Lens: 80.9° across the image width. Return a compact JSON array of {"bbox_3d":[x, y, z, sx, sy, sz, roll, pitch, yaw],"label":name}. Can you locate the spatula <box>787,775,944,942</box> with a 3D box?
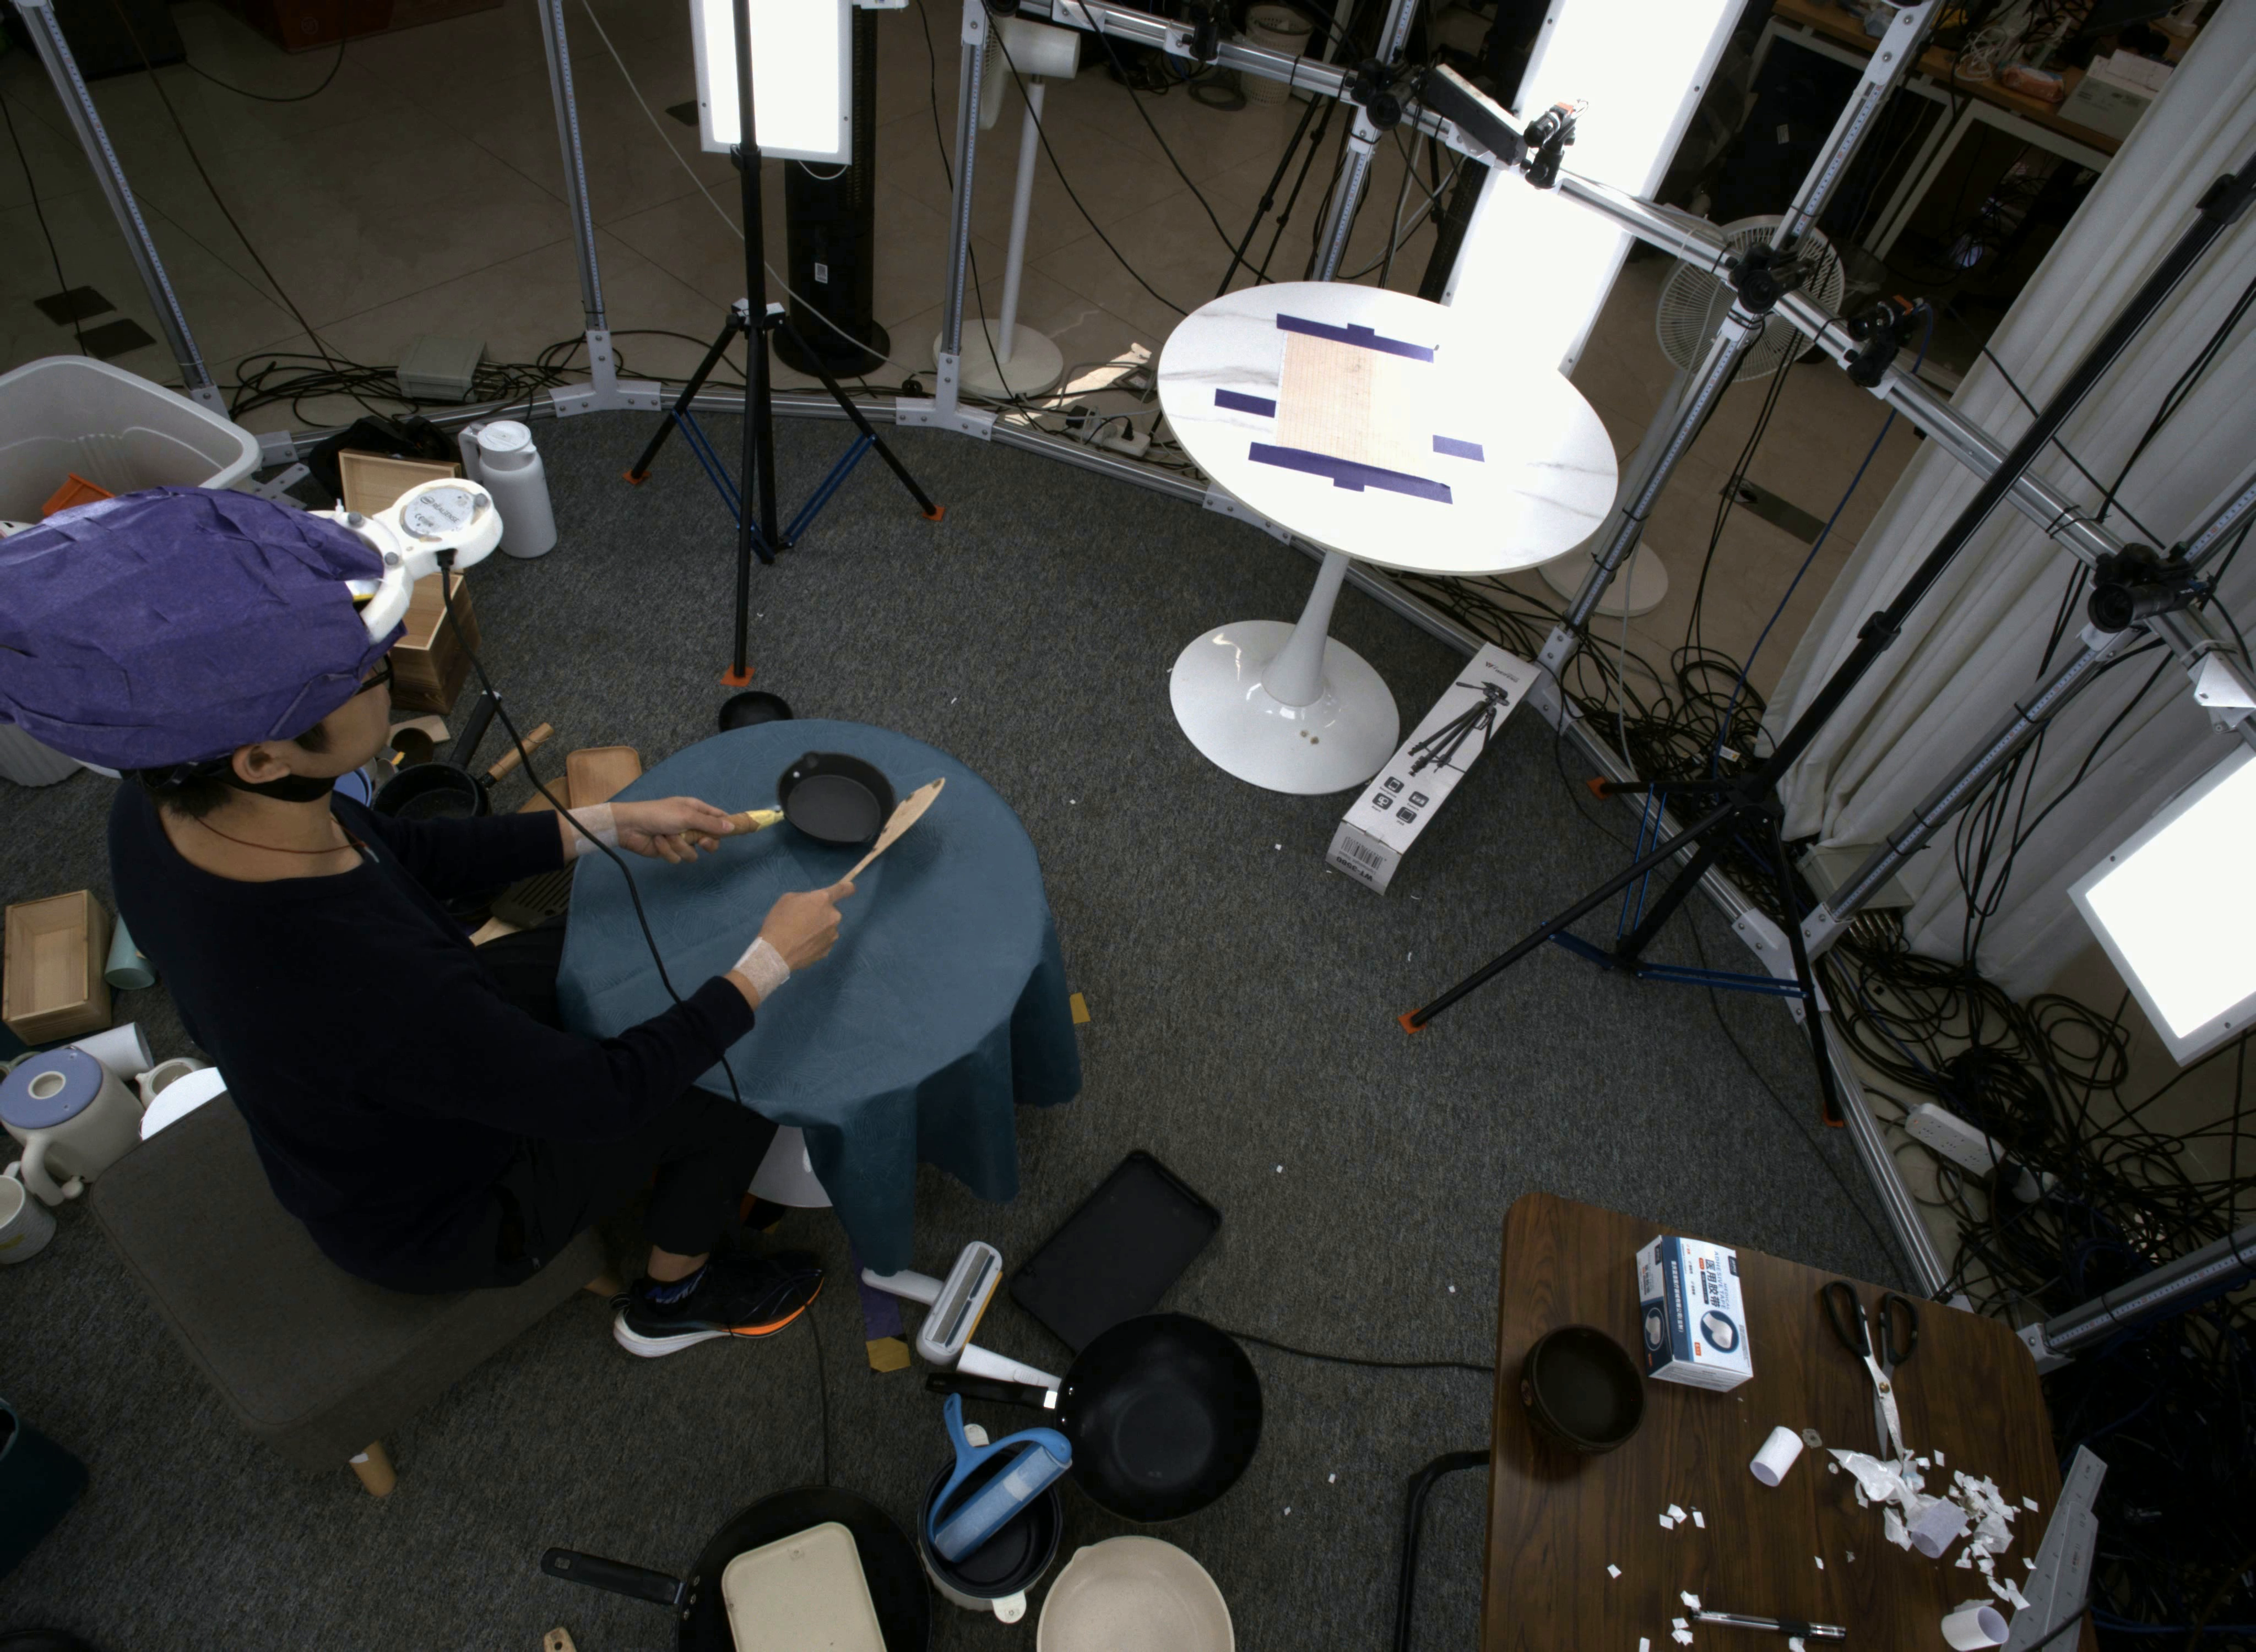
[{"bbox_3d":[-0.329,0.037,1.614,0.017,0.078,0.326,58,39,-20],"label":"spatula"}]

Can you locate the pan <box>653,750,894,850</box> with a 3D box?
[{"bbox_3d":[-0.453,-0.016,1.660,0.327,0.050,0.165,-16,59,-36],"label":"pan"}]
